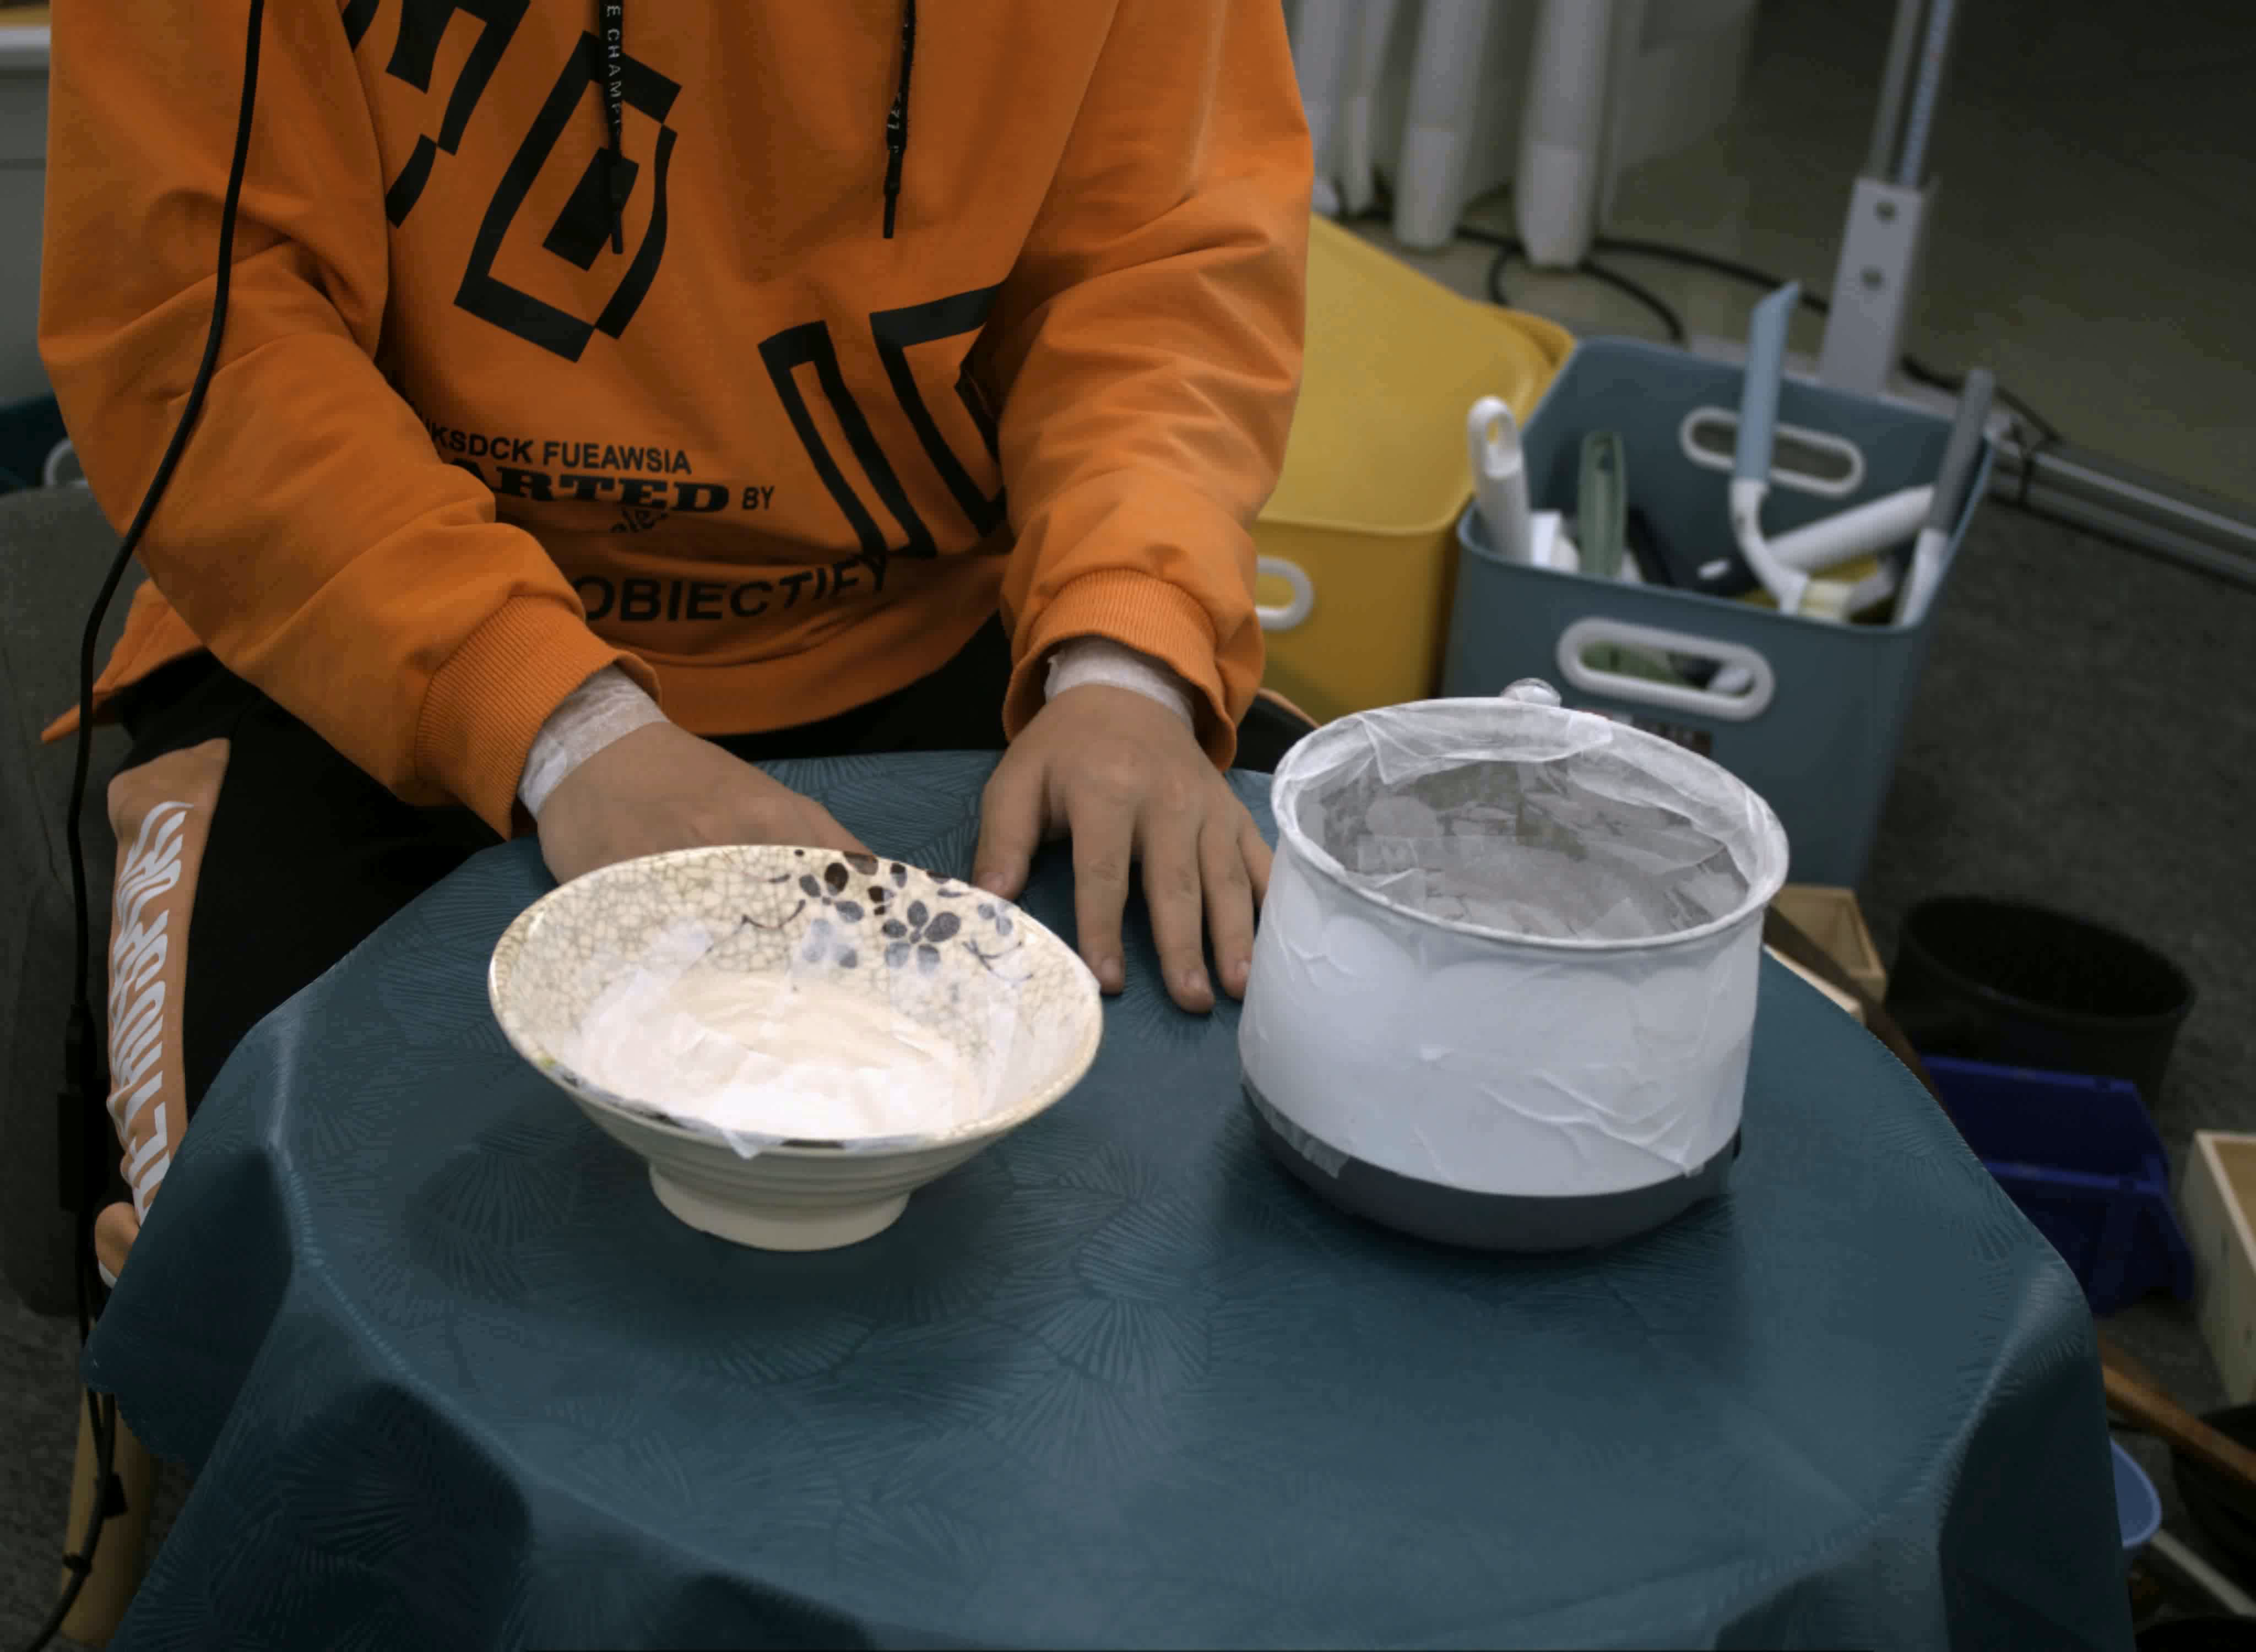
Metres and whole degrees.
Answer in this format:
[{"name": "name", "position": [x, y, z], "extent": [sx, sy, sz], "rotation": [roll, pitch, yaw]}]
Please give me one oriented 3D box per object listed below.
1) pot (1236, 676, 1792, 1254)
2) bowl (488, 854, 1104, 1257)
[{"name": "pot", "position": [0.130, 0.040, 1.844], "extent": [0.178, 0.136, 0.235], "rotation": [7, 27, 0]}, {"name": "bowl", "position": [-0.112, 0.088, 1.765], "extent": [0.203, 0.078, 0.205], "rotation": [5, 25, -3]}]
